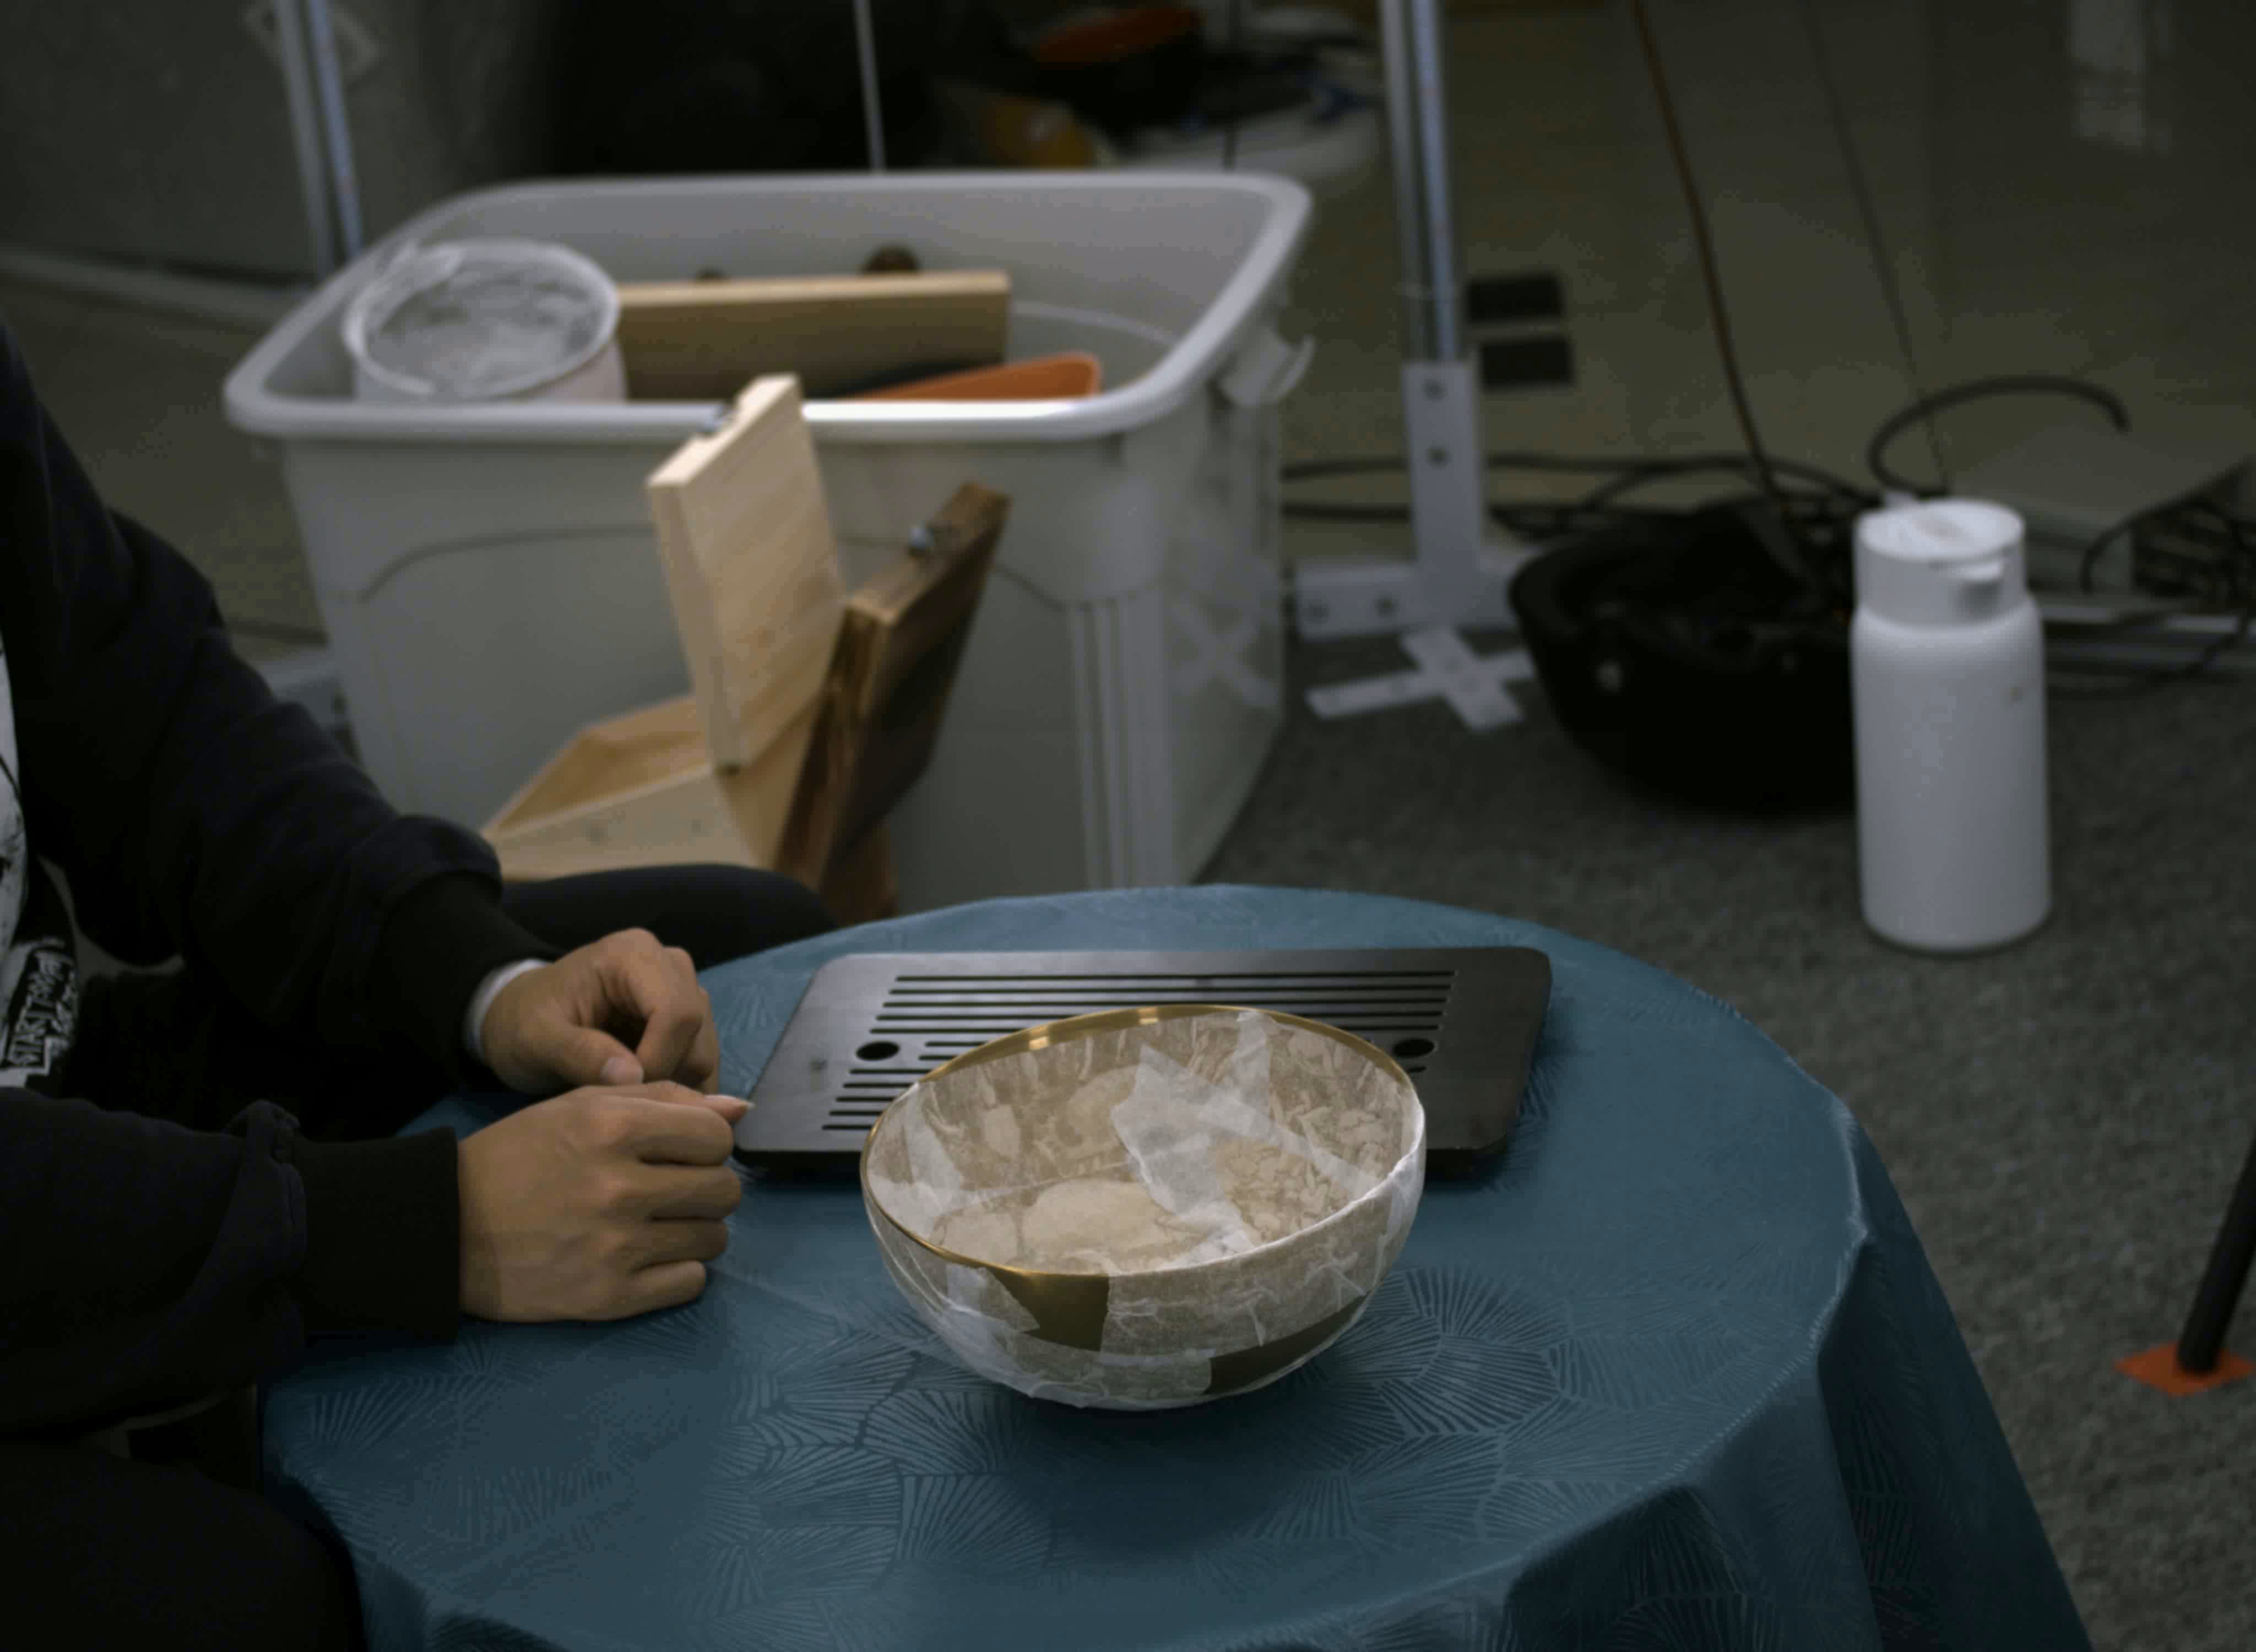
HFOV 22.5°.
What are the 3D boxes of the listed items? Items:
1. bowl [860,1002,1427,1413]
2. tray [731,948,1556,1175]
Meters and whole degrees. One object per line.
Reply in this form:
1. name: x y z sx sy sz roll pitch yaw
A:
1. bowl: 0.008 0.147 2.023 0.214 0.096 0.211 -6 26 3
2. tray: 0.009 0.093 2.228 0.305 0.019 0.167 -1 25 12
